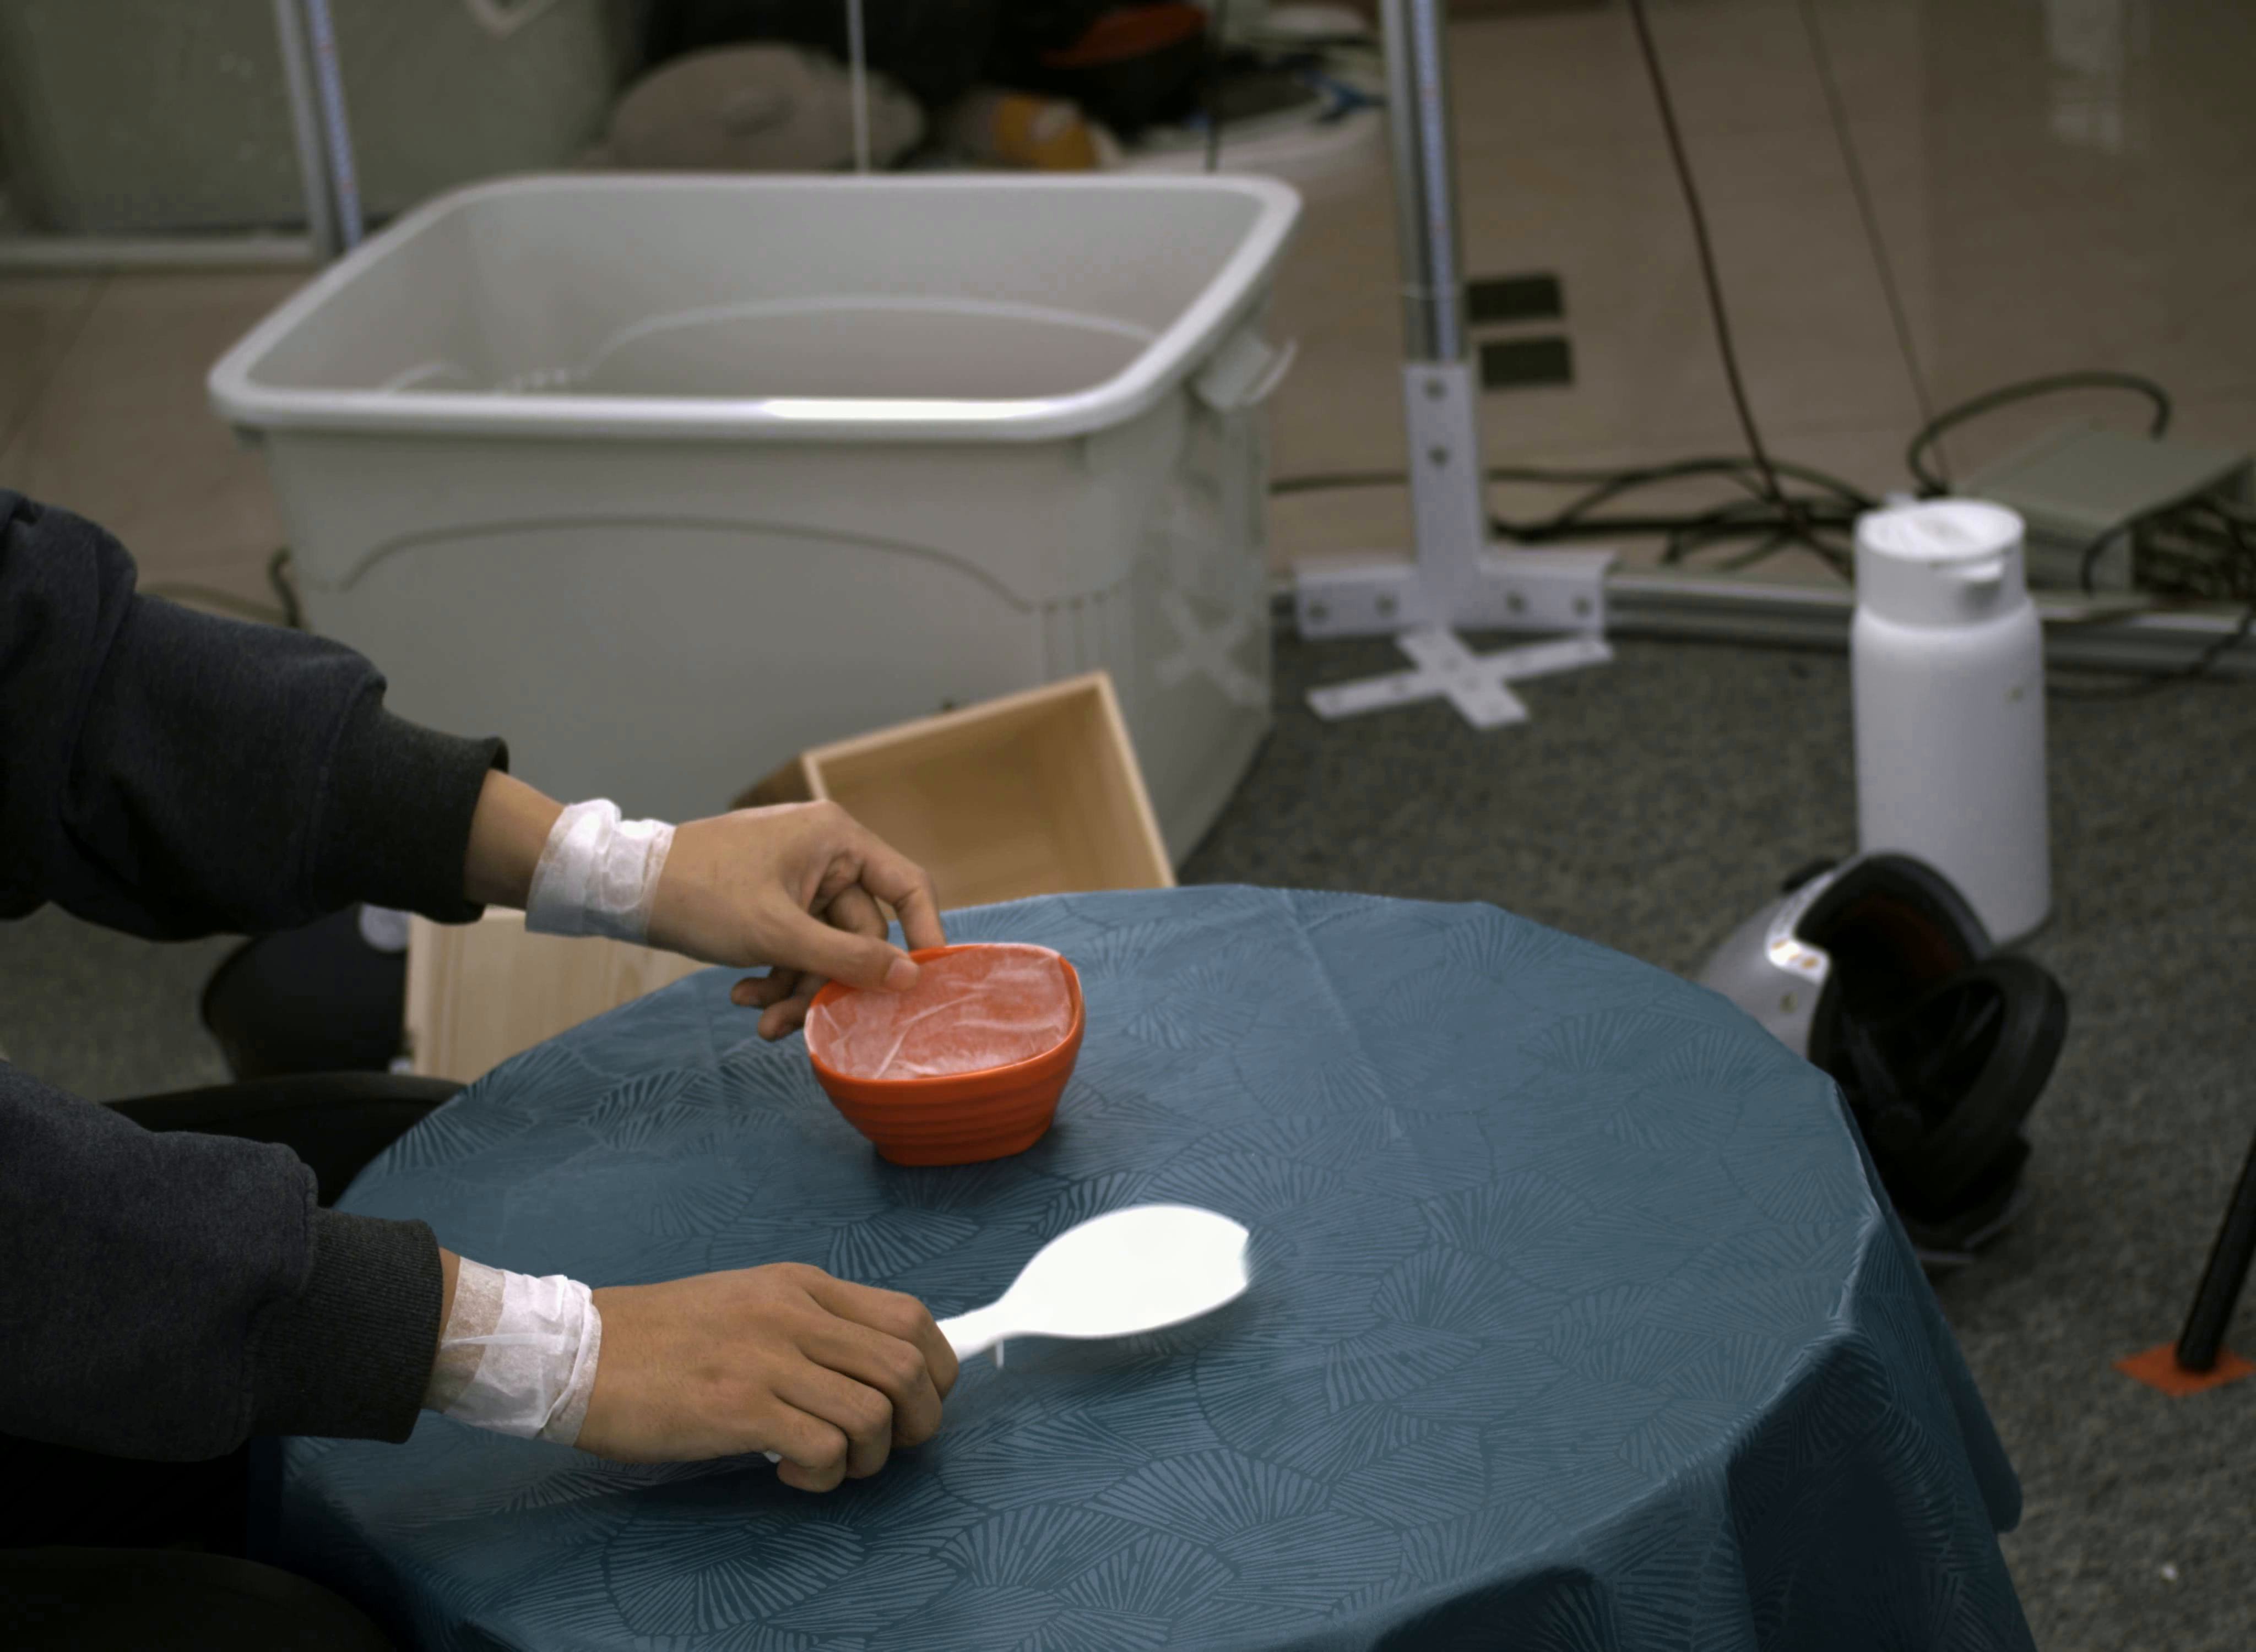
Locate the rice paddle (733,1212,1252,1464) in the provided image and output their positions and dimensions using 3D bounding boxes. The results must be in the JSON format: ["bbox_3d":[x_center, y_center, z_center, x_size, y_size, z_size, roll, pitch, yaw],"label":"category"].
[{"bbox_3d":[-0.045,0.177,2.018,0.204,0.030,0.068,-19,37,-27],"label":"rice paddle"}]

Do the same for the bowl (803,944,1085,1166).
[{"bbox_3d":[-0.069,0.093,2.198,0.119,0.052,0.117,-5,26,2],"label":"bowl"}]
